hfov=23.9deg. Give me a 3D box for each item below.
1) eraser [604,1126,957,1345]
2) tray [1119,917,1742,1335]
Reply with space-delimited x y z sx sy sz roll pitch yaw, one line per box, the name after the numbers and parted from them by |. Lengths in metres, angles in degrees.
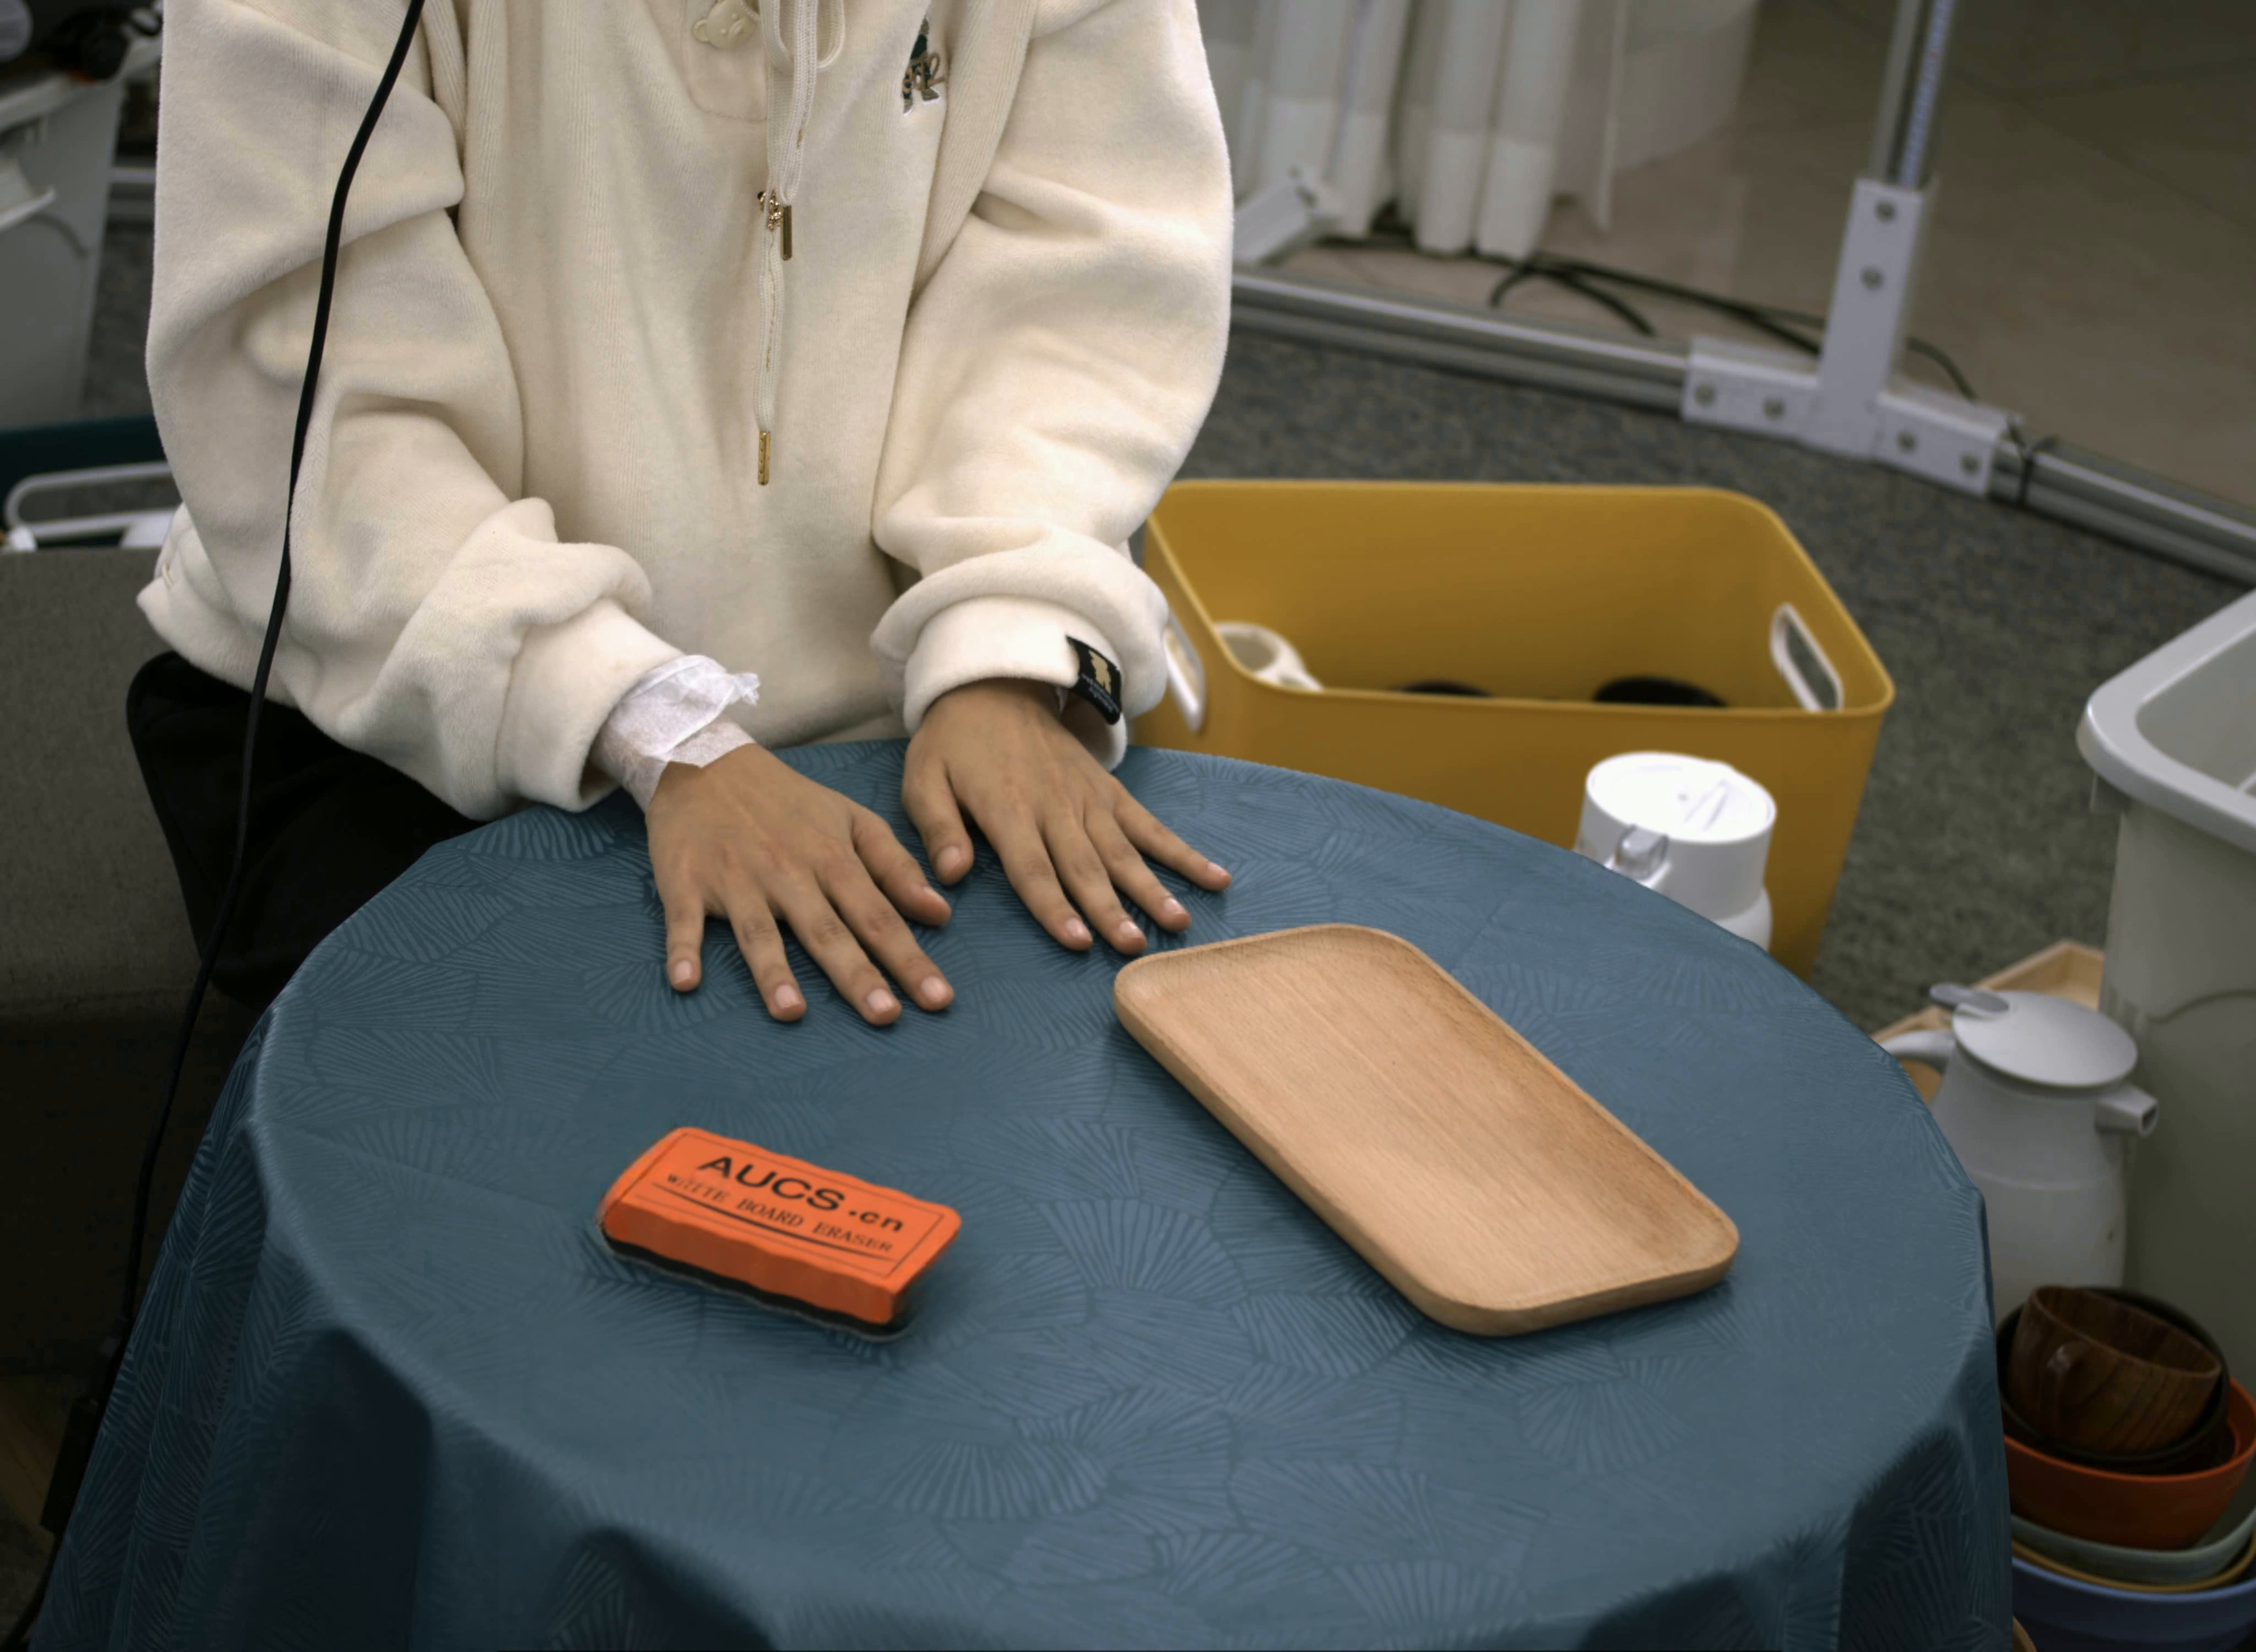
-0.113 0.133 1.733 0.108 0.023 0.059 17 30 19 | eraser
0.101 0.101 1.848 0.129 0.023 0.253 -6 29 -29 | tray
